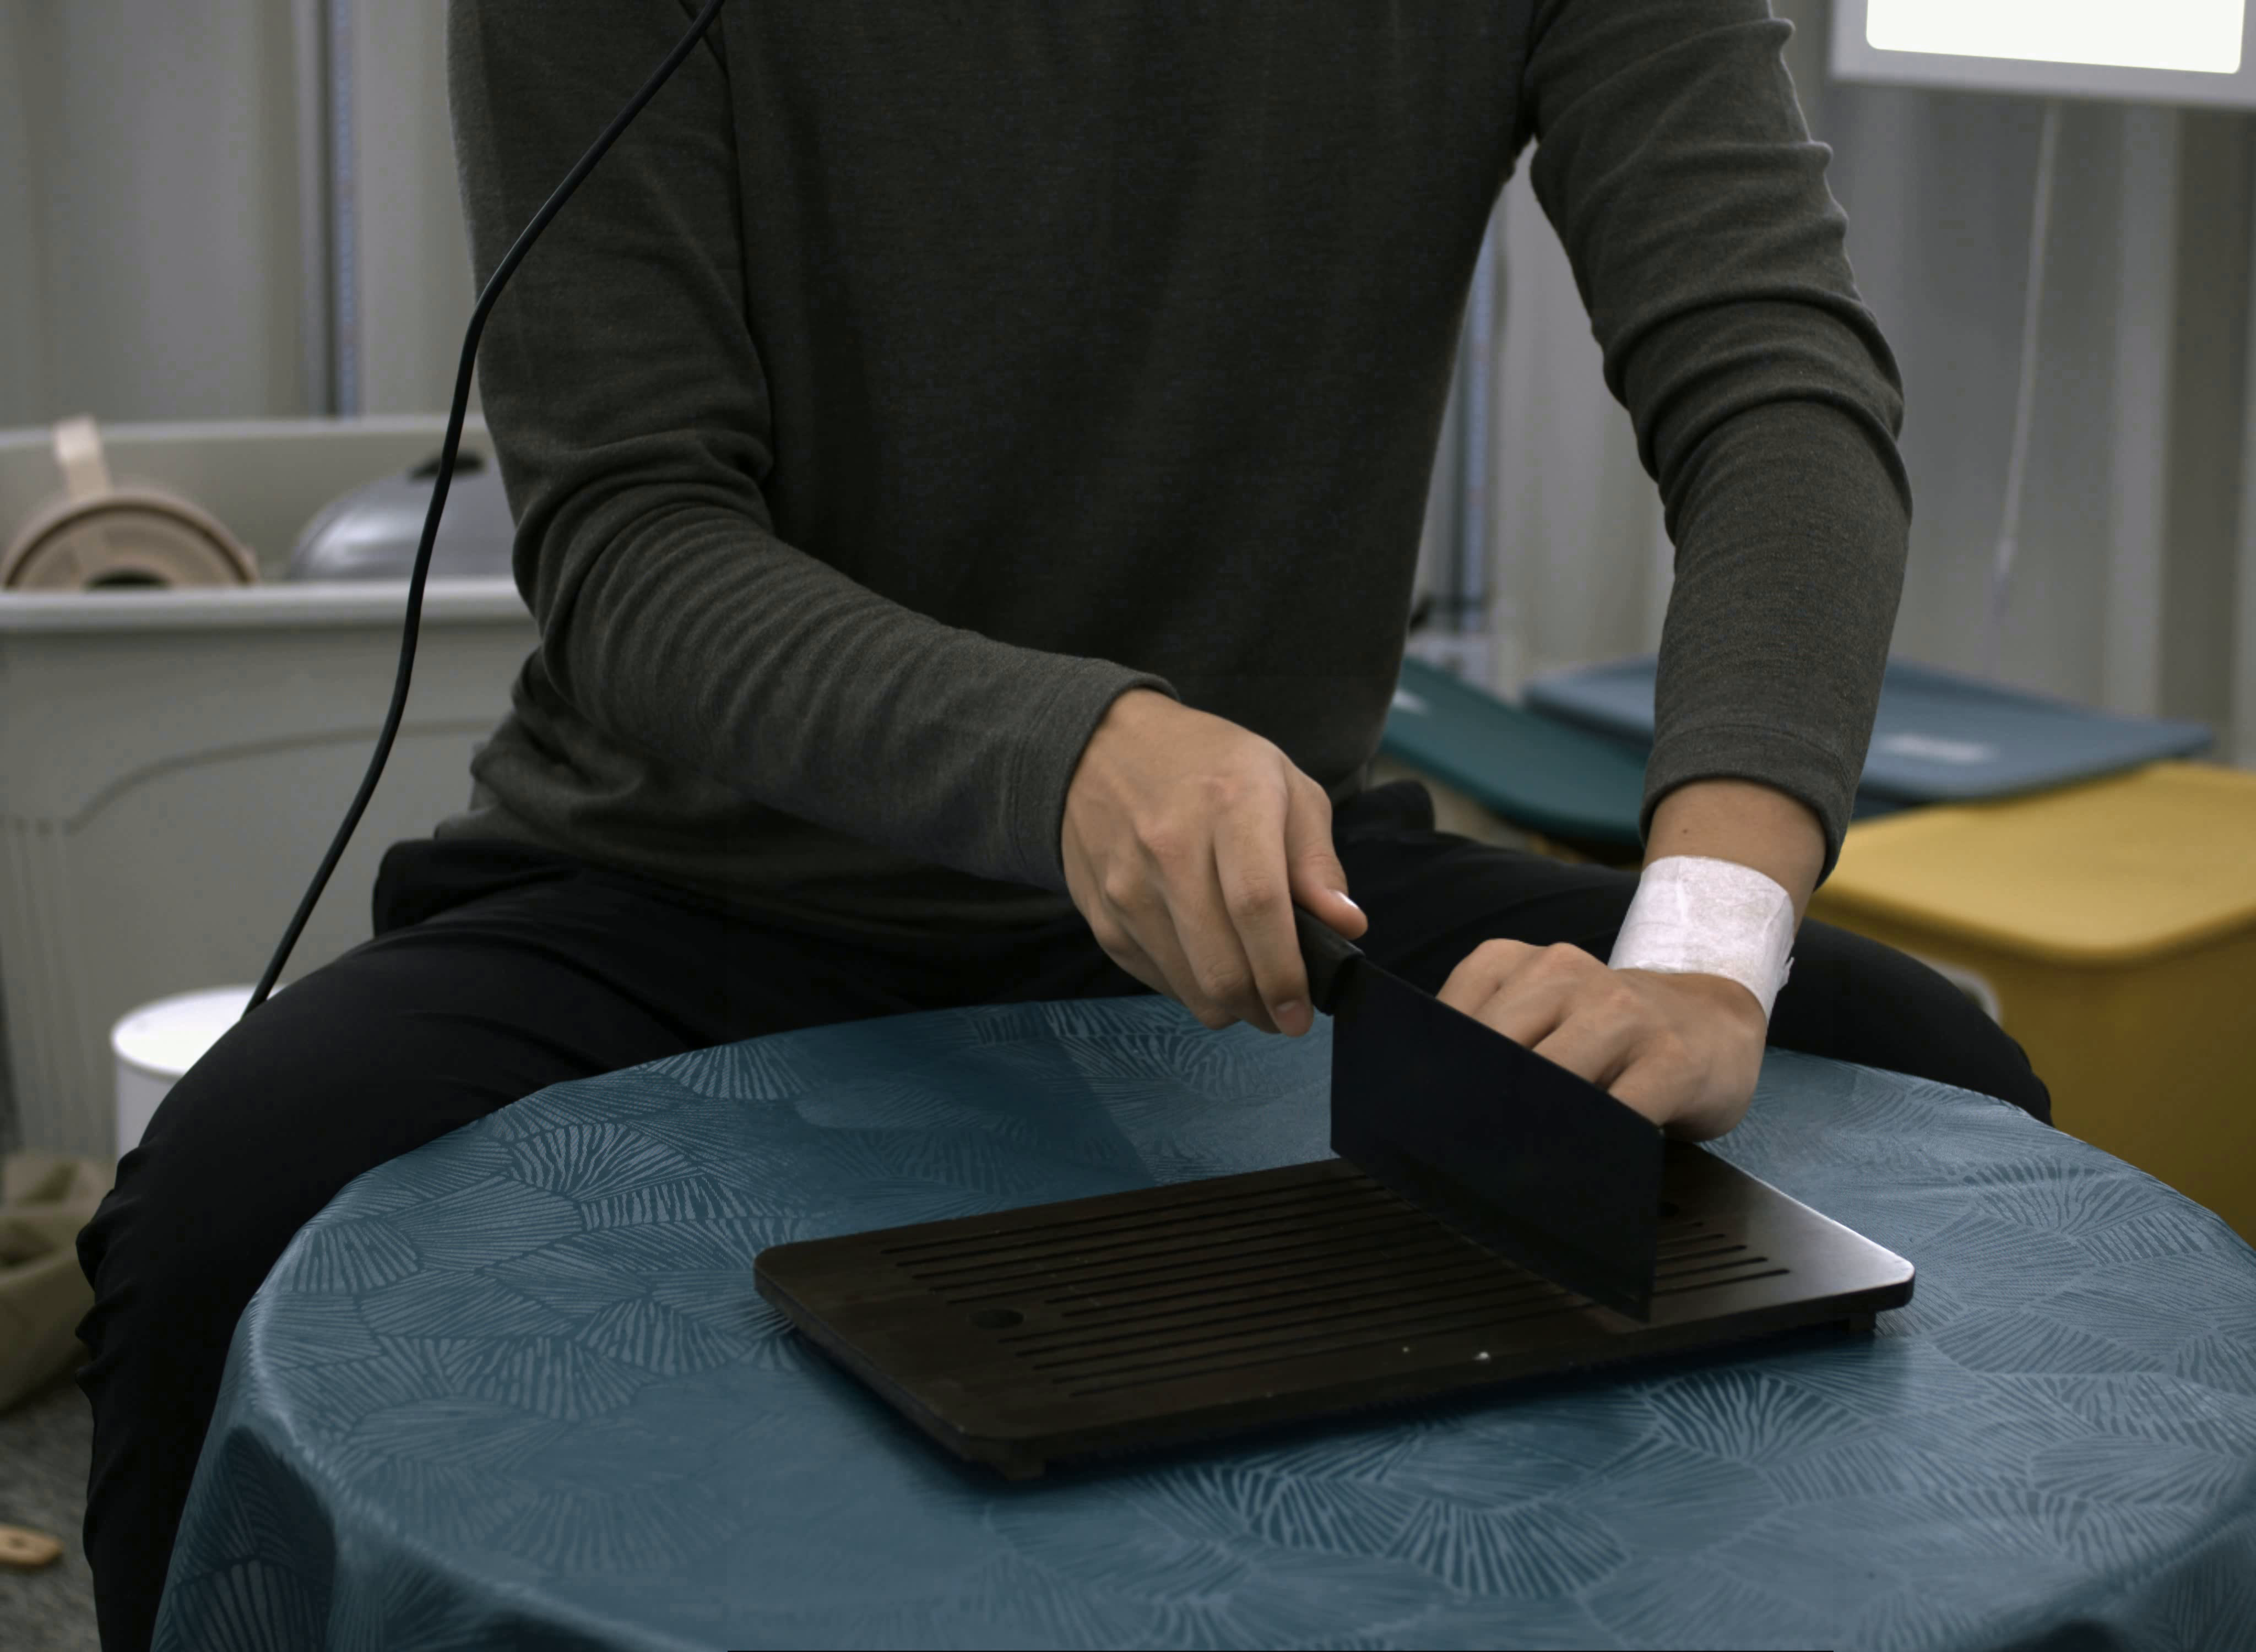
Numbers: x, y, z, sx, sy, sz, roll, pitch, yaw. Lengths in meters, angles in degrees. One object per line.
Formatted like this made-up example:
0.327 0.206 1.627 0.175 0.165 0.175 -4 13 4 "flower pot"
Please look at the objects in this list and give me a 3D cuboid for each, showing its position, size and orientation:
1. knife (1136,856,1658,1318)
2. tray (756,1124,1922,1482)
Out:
0.077 0.070 1.570 0.021 0.081 0.298 -5 21 -27 "knife"
0.061 0.134 1.514 0.307 0.019 0.168 -6 16 -26 "tray"
